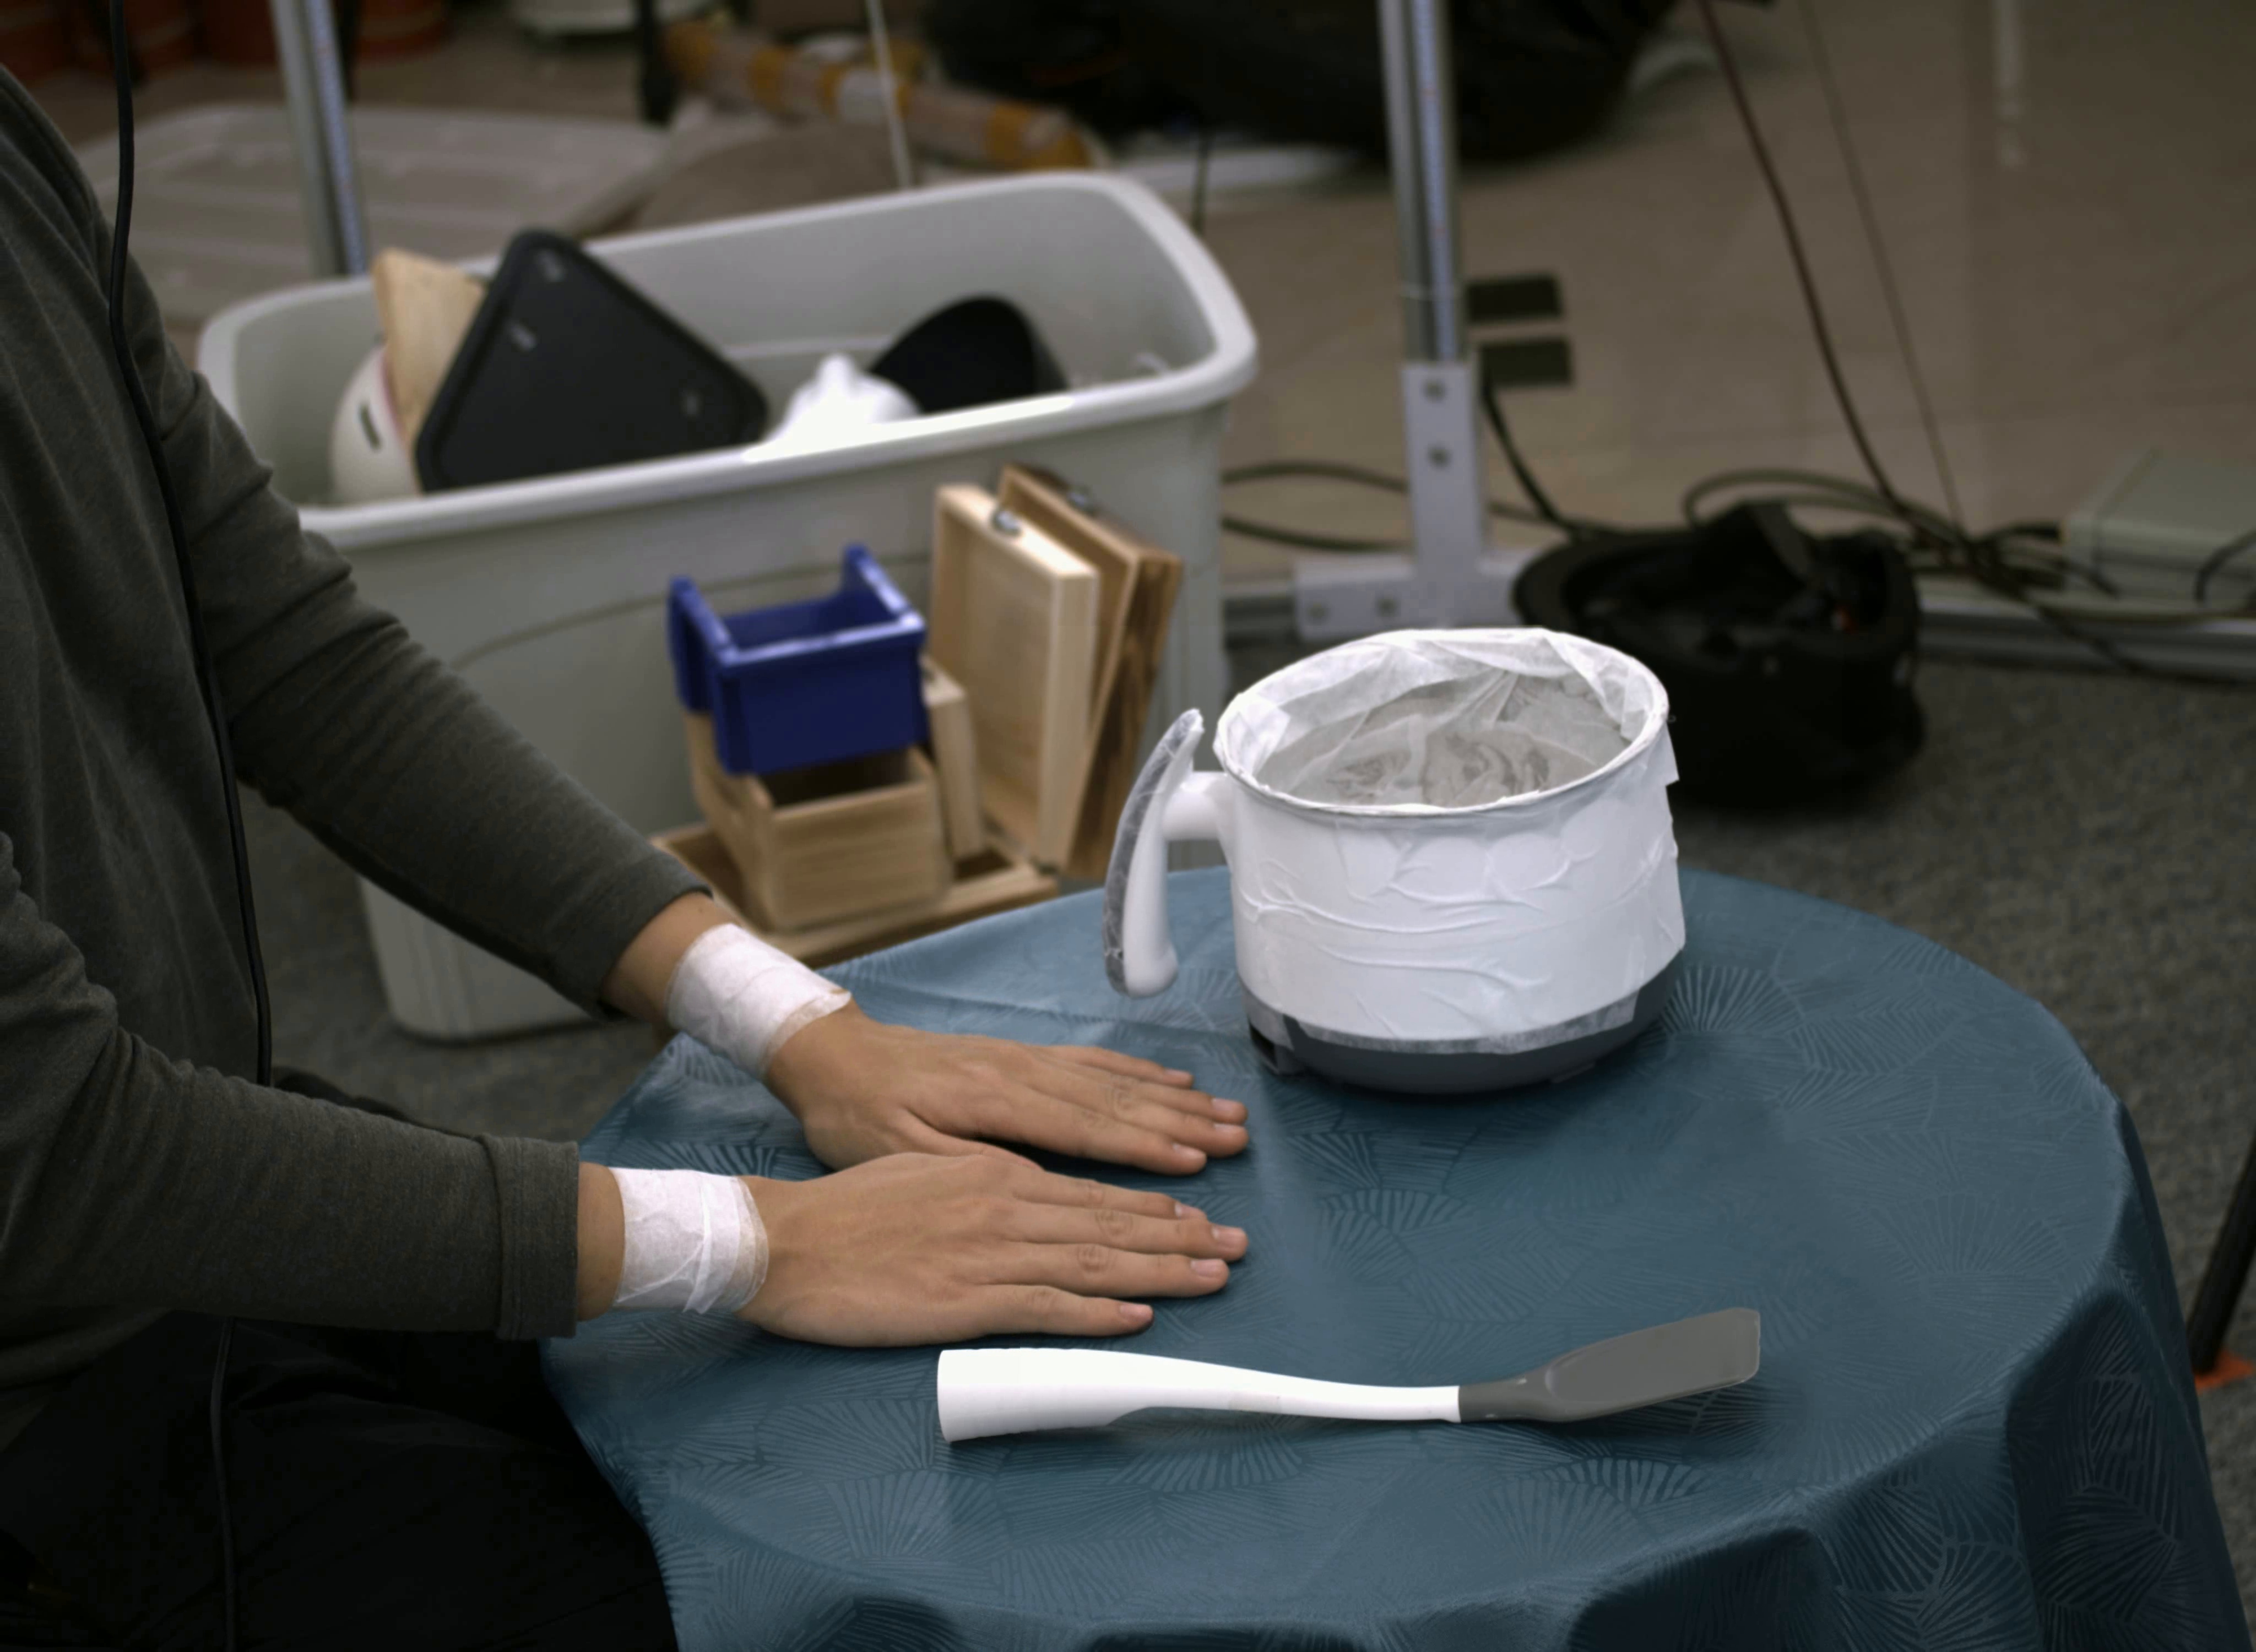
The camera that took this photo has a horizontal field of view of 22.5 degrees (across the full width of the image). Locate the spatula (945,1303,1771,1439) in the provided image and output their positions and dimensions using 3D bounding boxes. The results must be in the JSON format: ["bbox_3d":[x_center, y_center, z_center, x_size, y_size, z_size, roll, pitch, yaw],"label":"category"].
[{"bbox_3d":[0.080,0.192,1.976,0.287,0.032,0.058,-3,21,8],"label":"spatula"}]

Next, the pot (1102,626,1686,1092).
[{"bbox_3d":[0.101,0.015,2.227,0.233,0.139,0.176,-1,25,11],"label":"pot"}]
